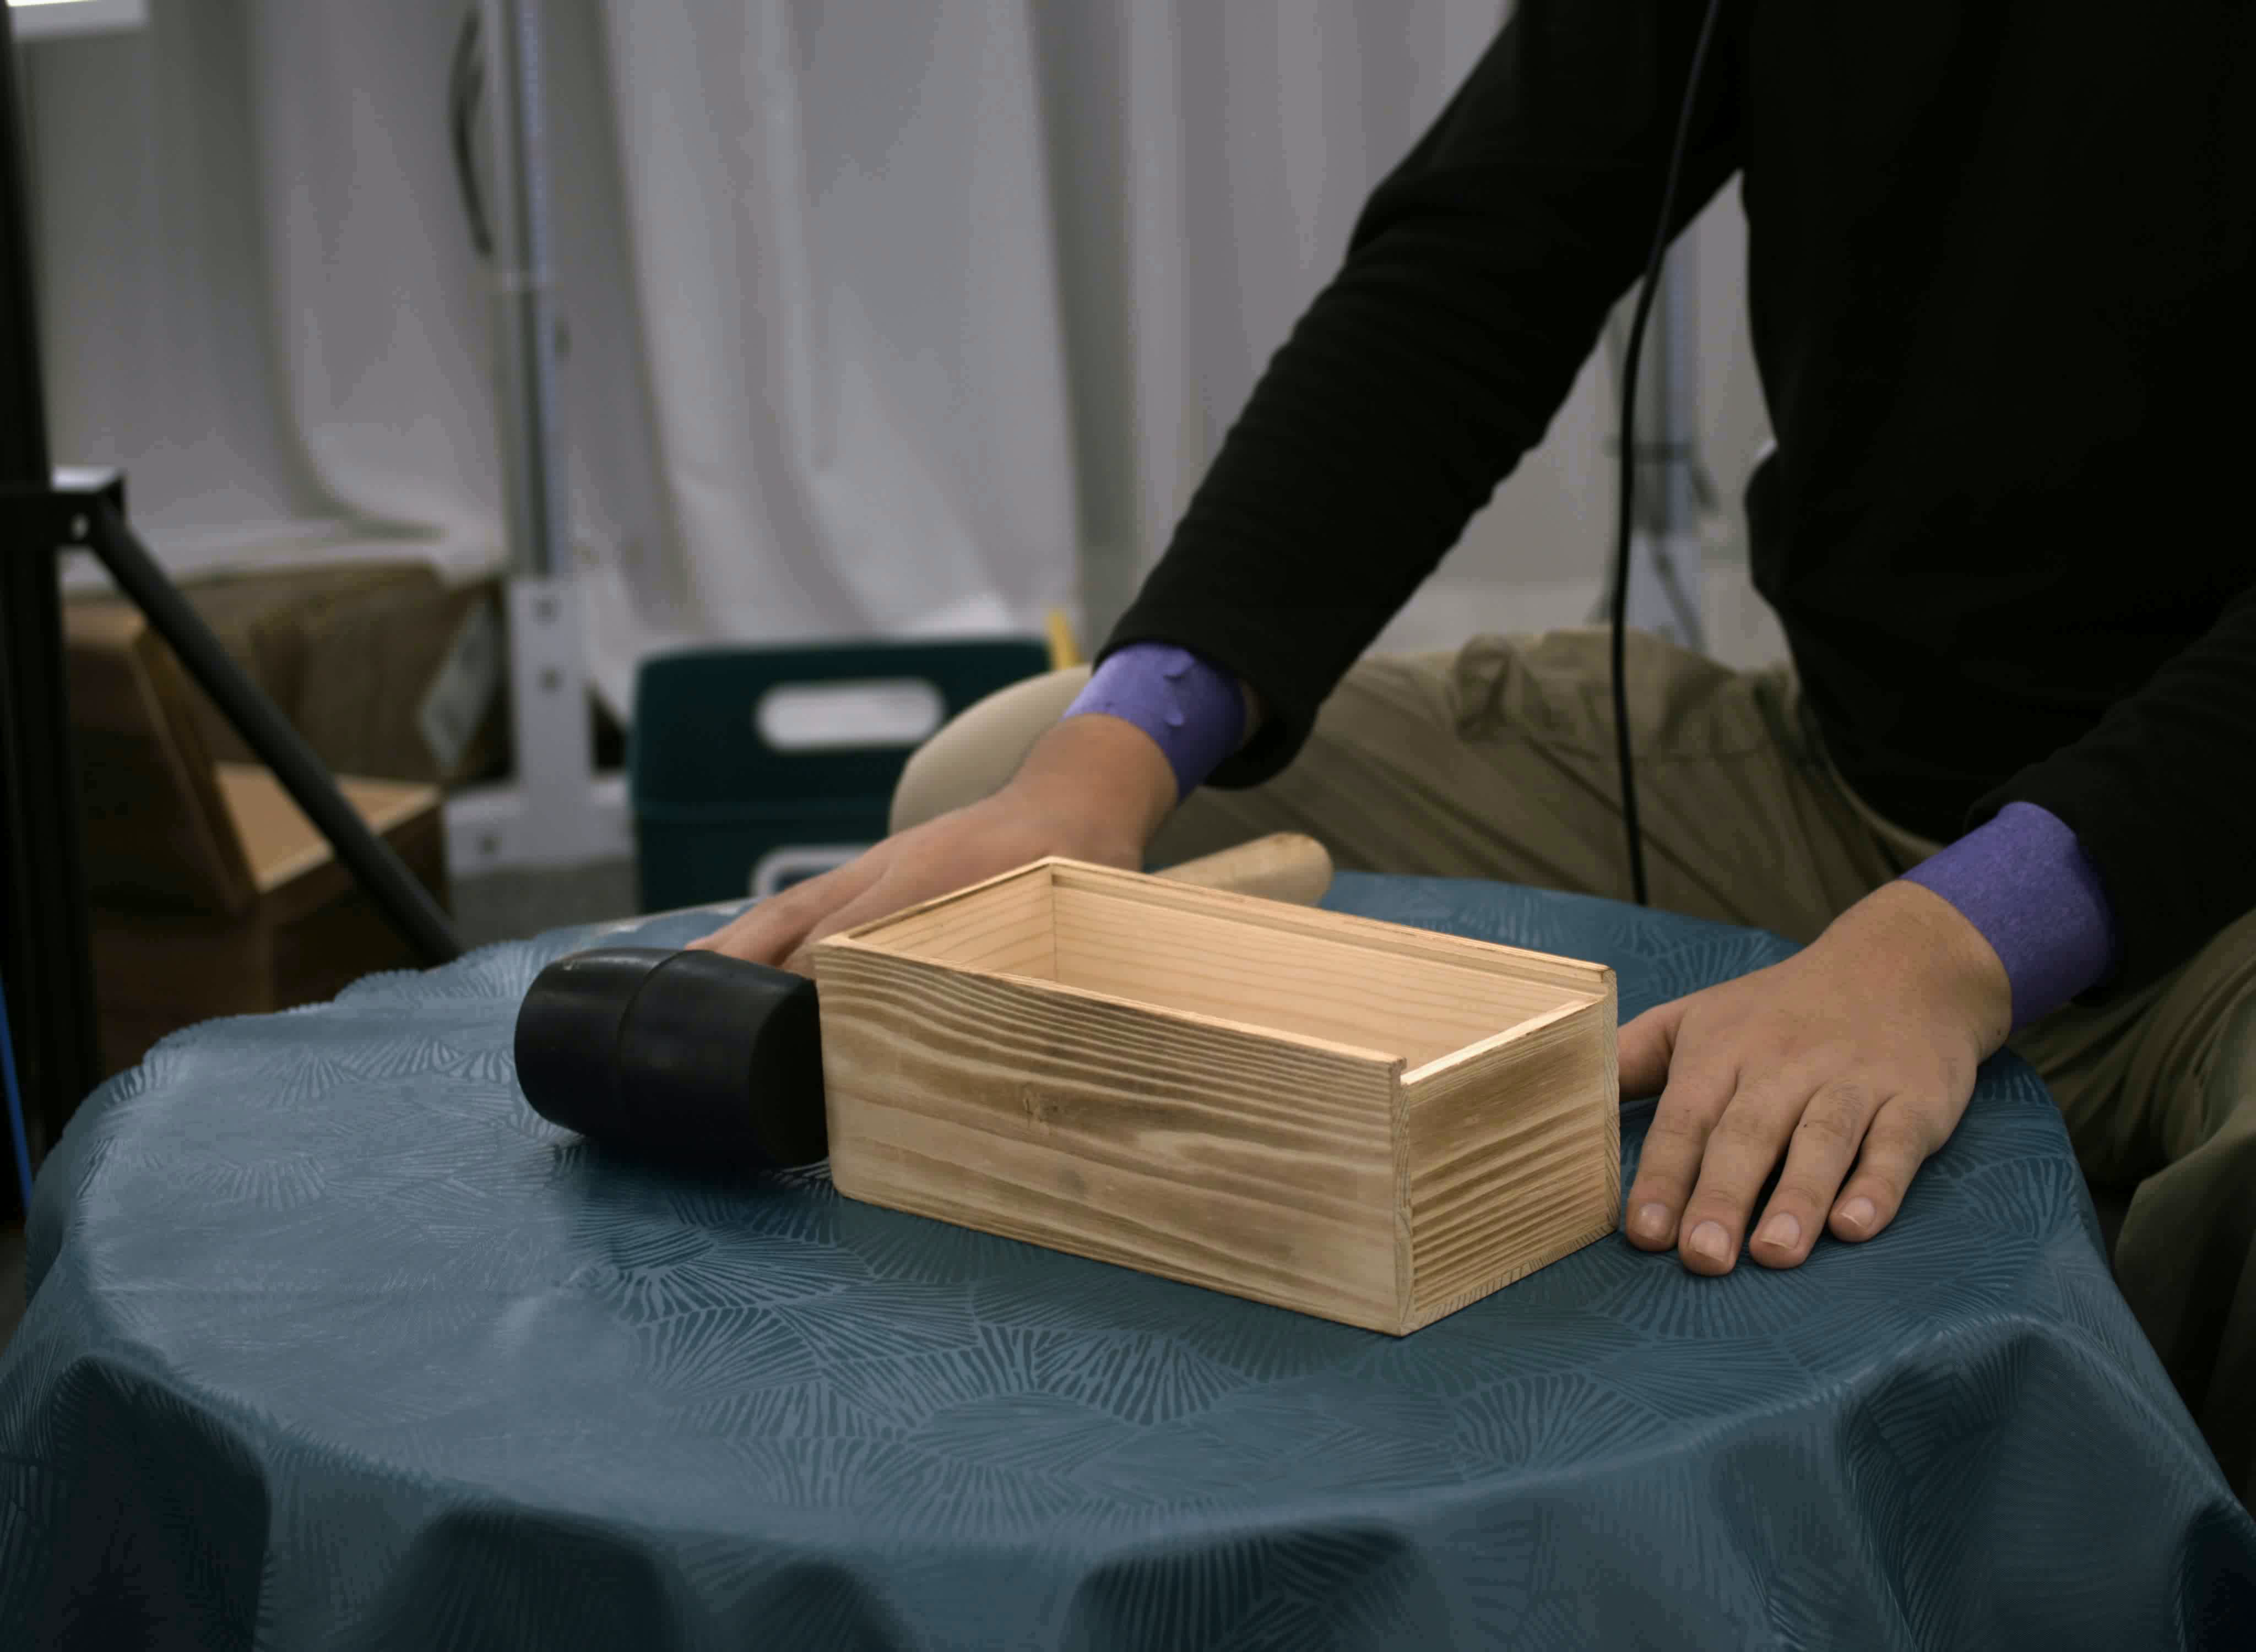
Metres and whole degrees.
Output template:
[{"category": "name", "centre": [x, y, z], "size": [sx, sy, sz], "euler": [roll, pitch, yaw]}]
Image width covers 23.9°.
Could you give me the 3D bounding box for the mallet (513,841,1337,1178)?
[{"category": "mallet", "centre": [-0.046, 0.039, 1.697], "size": [0.104, 0.064, 0.331], "euler": [12, 21, 39]}]

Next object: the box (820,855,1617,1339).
[{"category": "box", "centre": [0.025, 0.074, 1.524], "size": [0.216, 0.080, 0.105], "euler": [11, 20, 40]}]
